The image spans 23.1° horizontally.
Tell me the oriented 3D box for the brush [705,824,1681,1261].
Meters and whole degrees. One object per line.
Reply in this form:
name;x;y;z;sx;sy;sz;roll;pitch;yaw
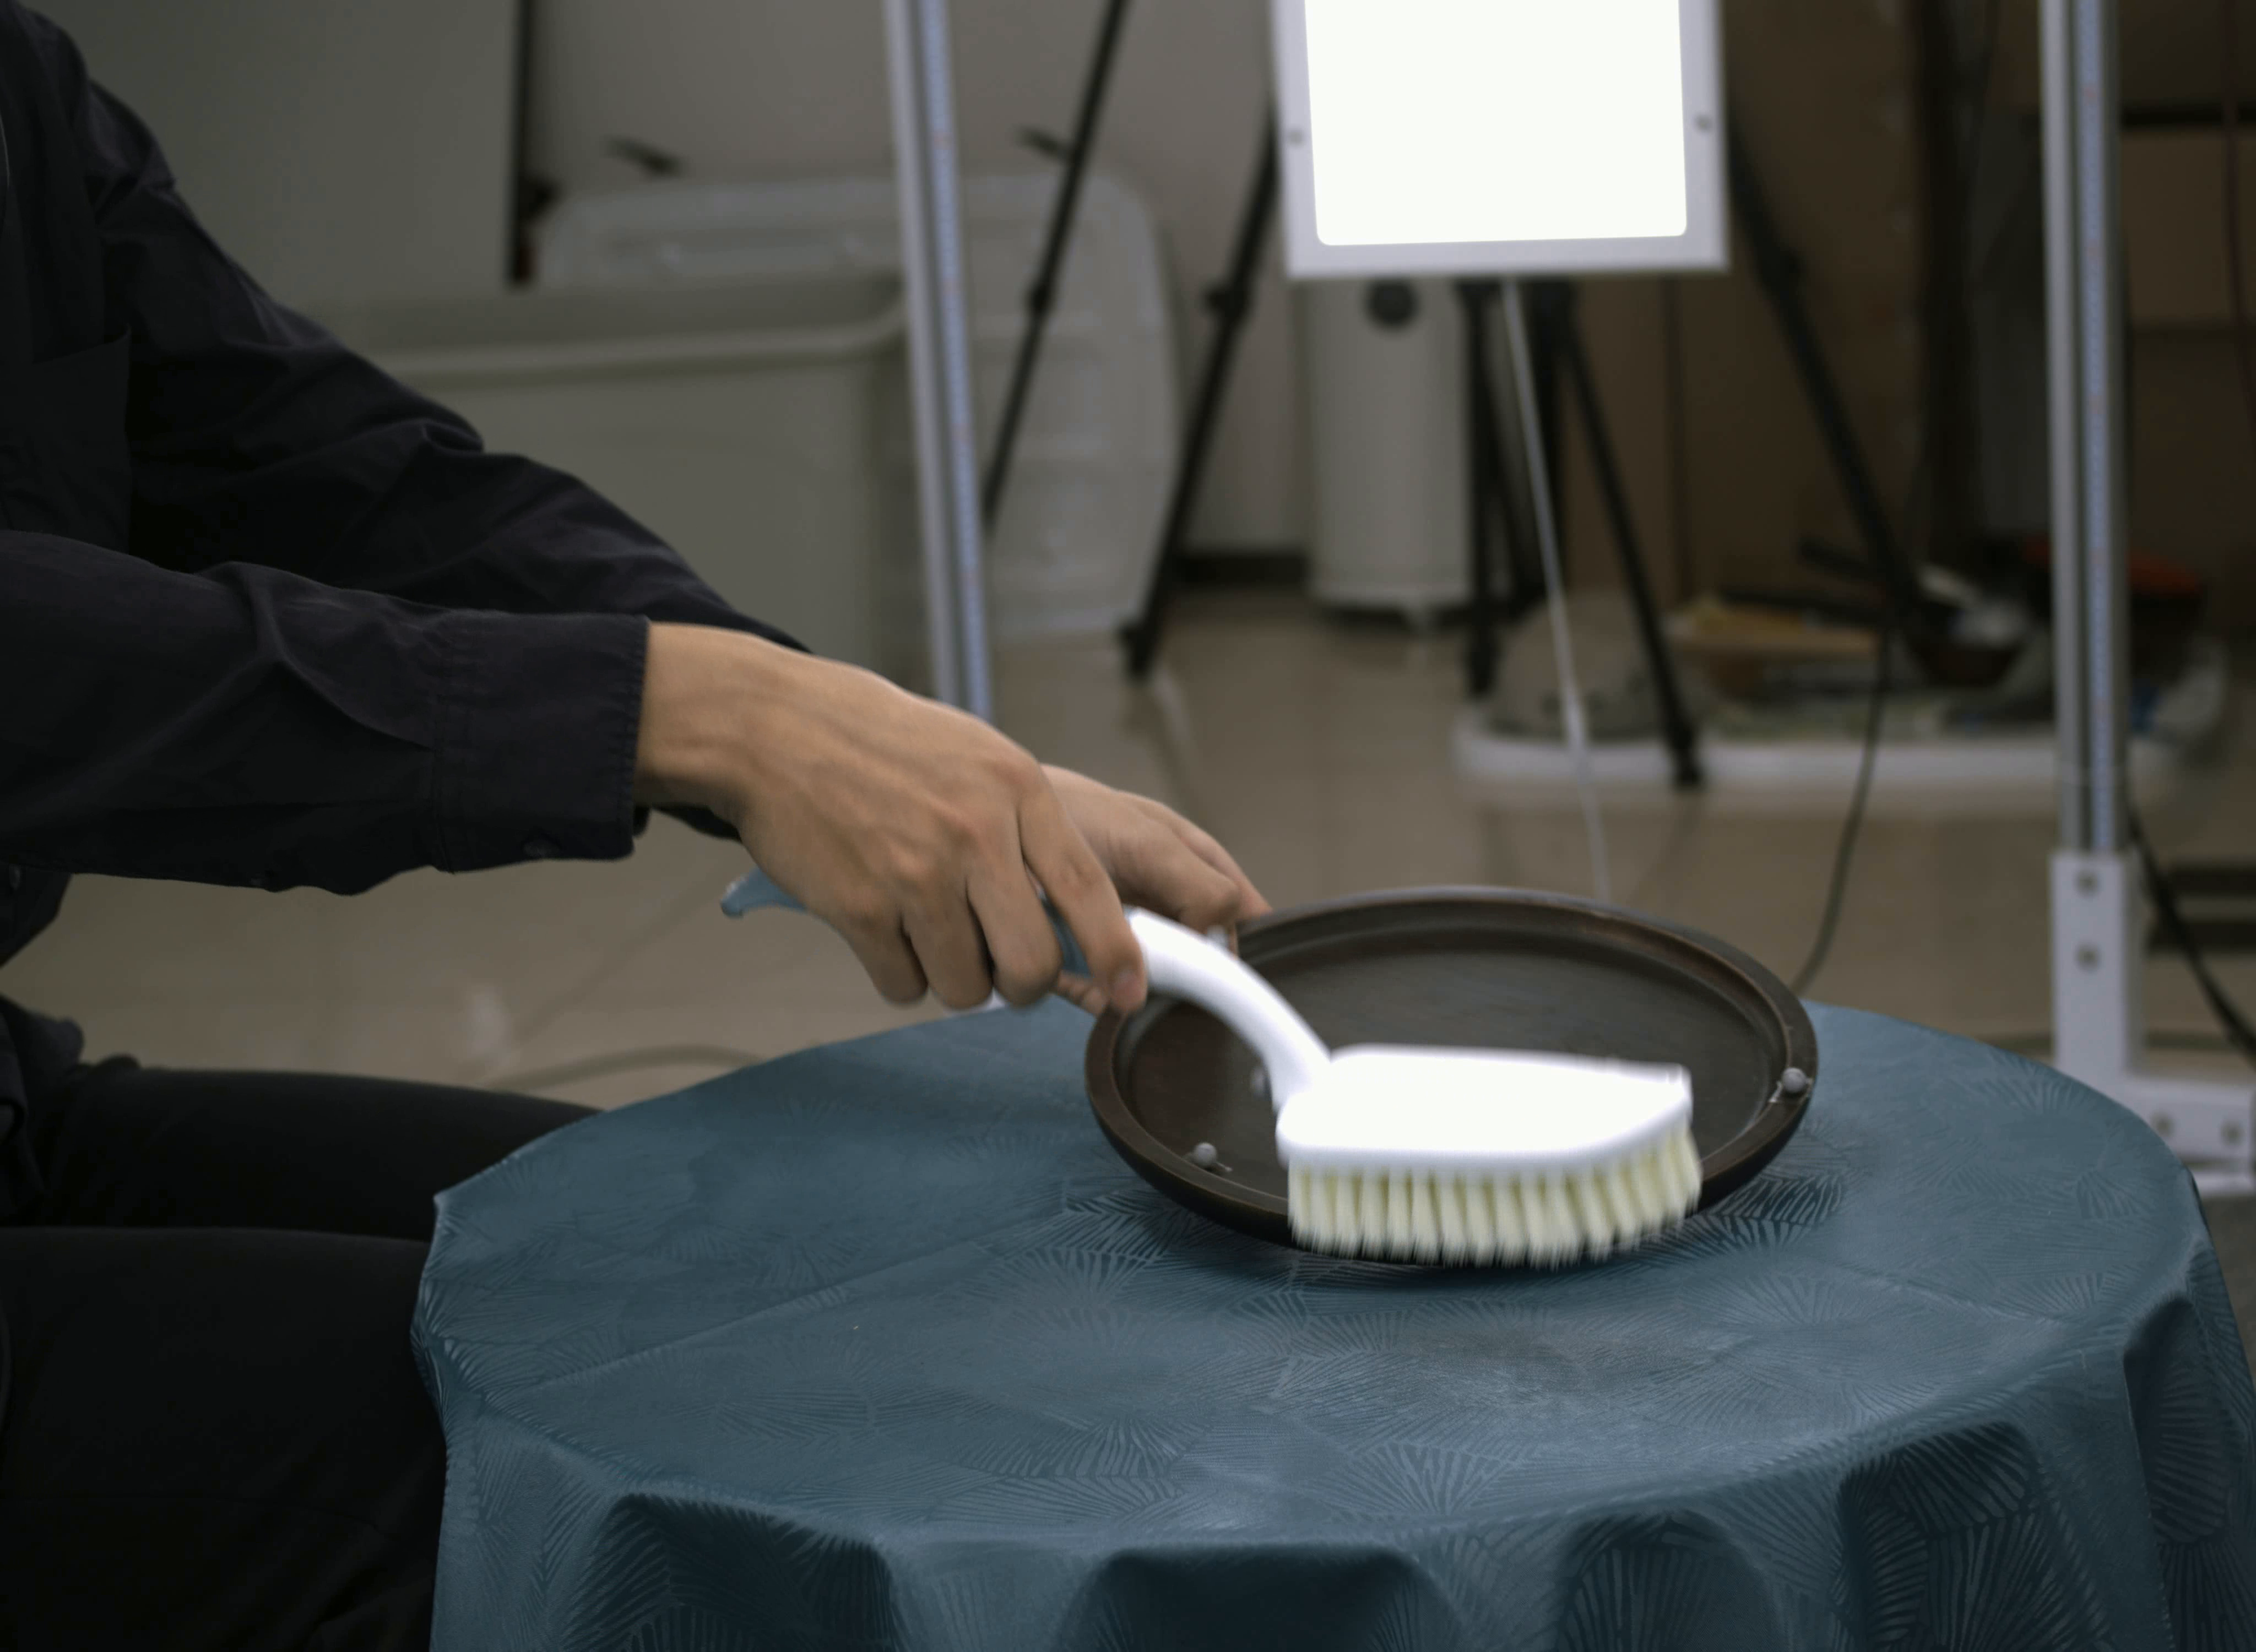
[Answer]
brush;0.016;0.079;1.730;0.329;0.084;0.082;14;-11;17

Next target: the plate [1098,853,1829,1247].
plate;0.116;0.077;1.900;0.254;0.029;0.254;-5;27;1
